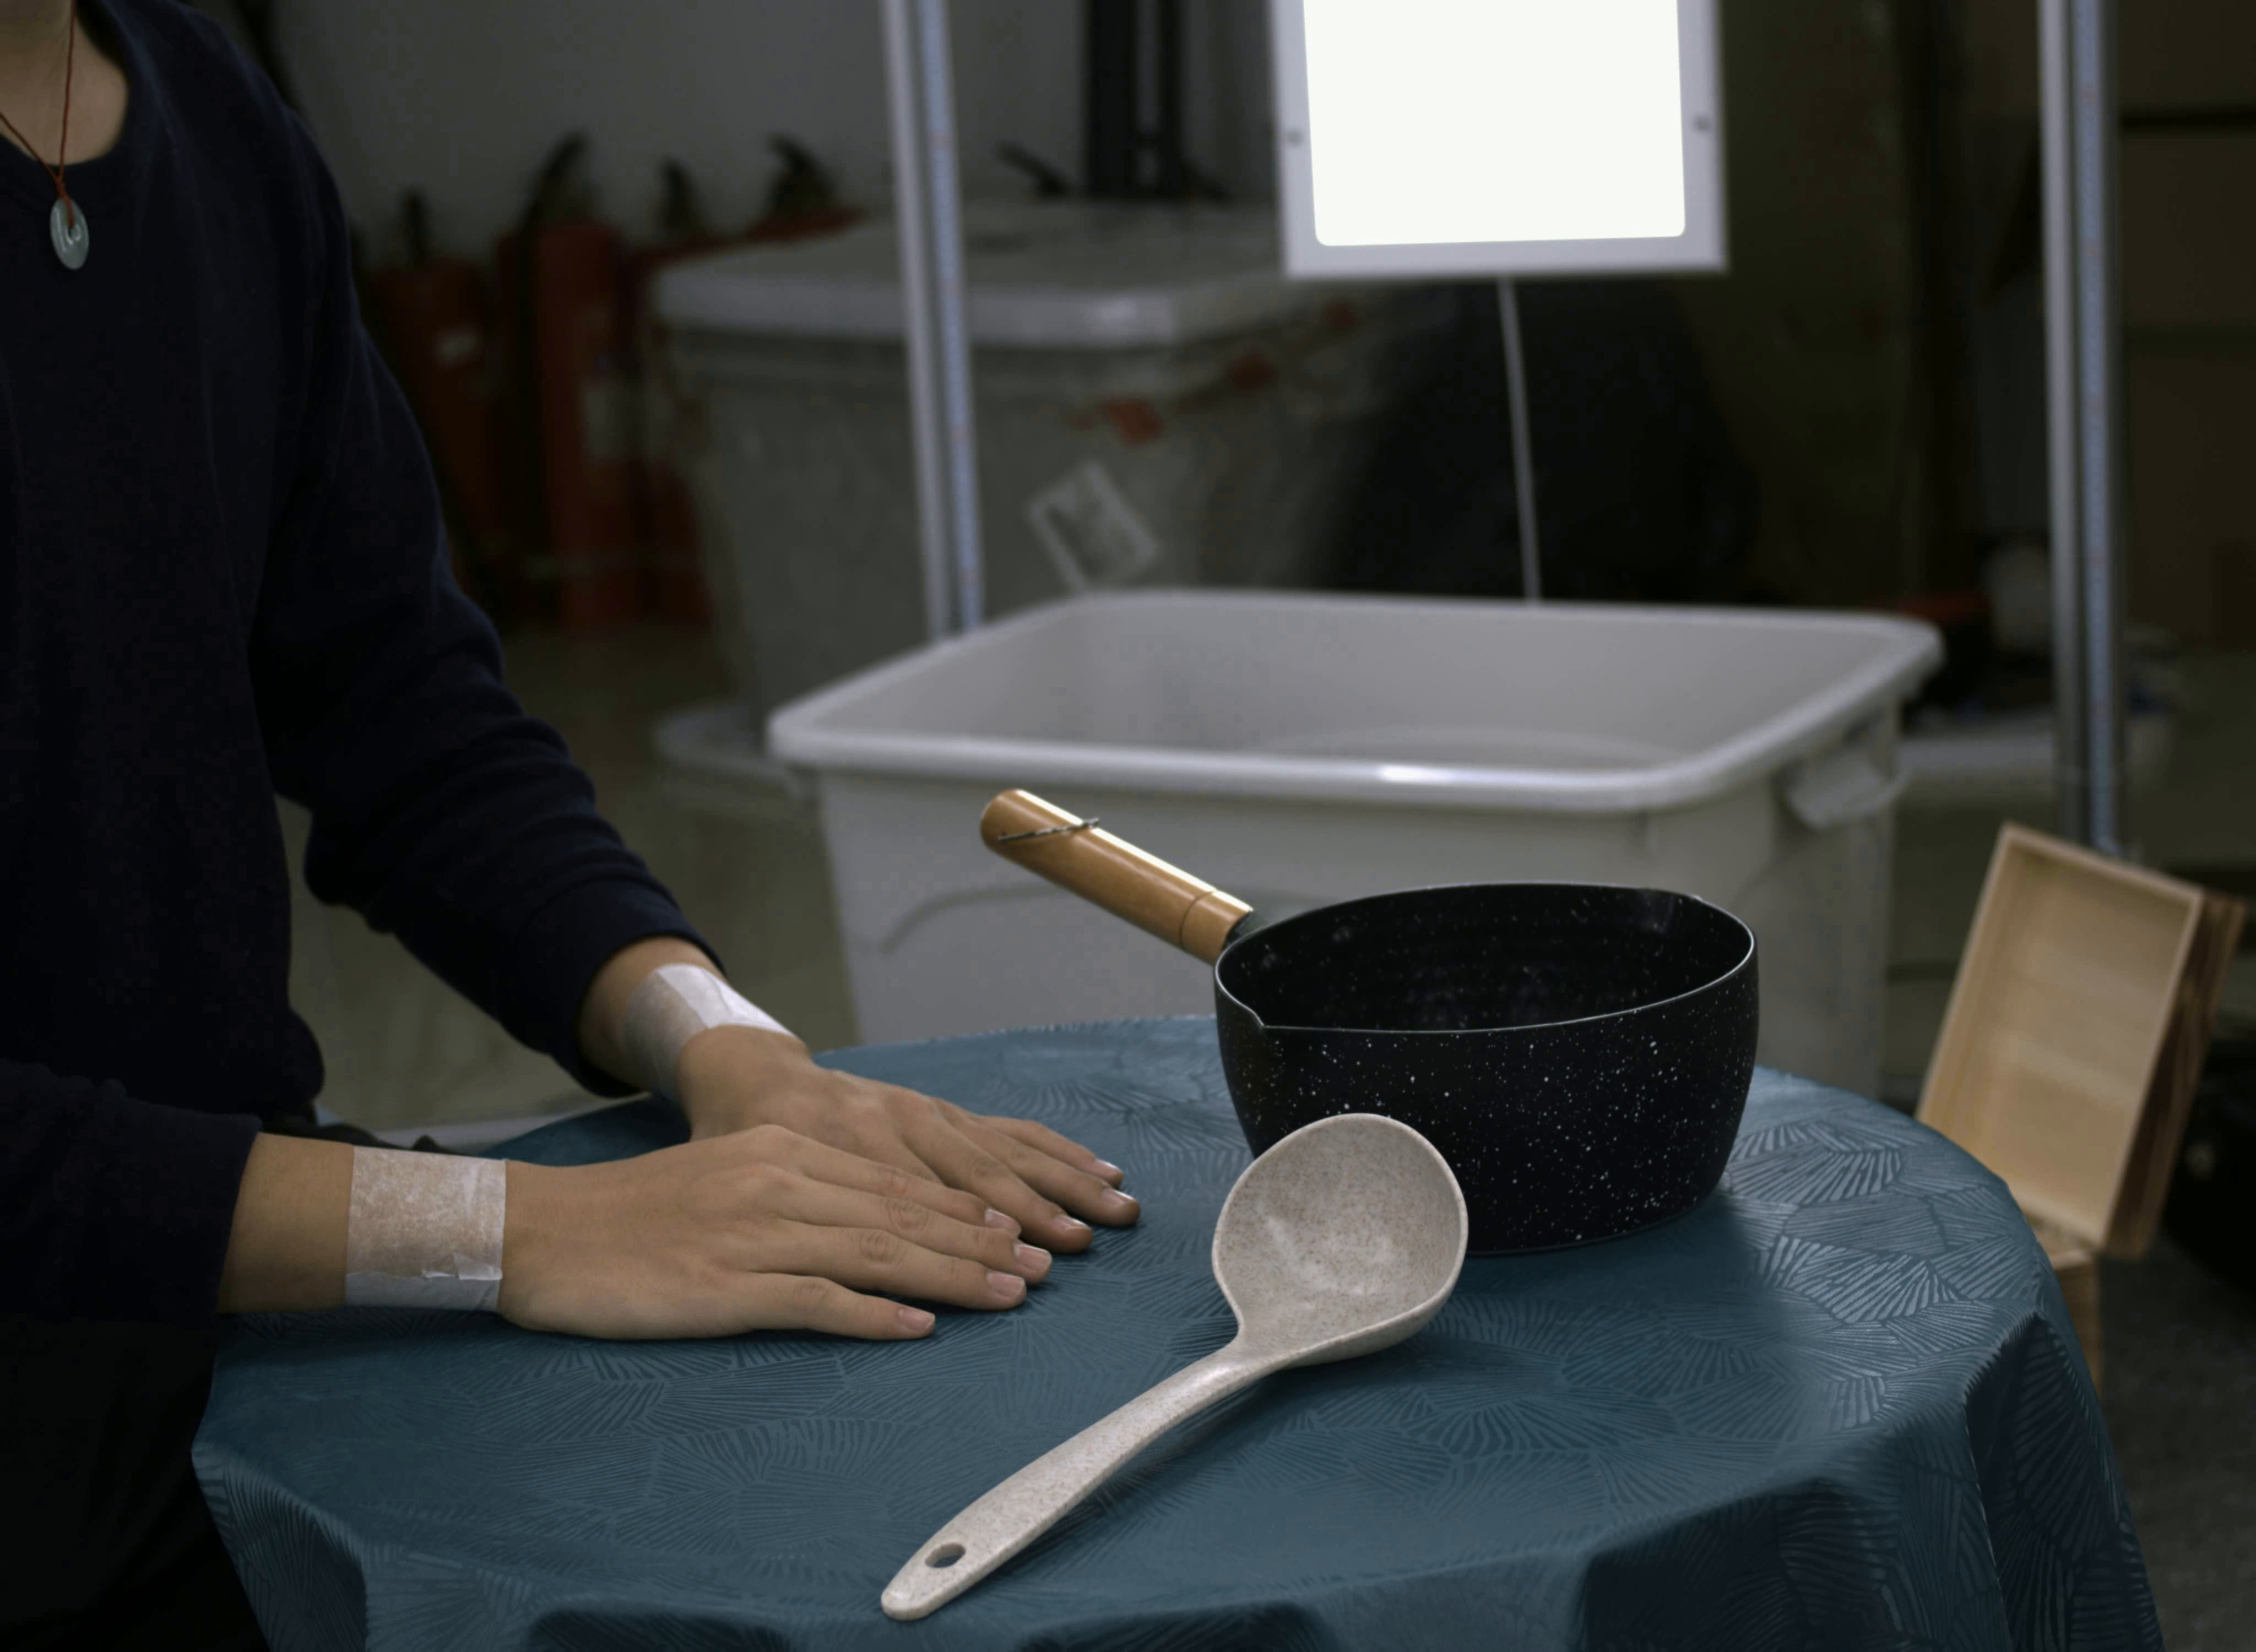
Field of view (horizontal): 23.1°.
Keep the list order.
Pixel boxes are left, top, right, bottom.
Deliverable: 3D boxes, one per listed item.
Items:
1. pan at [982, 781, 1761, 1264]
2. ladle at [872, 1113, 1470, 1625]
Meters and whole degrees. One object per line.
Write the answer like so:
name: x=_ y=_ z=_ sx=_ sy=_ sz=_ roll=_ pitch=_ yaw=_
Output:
pan: x=0.068 y=0.061 z=1.911 sx=0.202 sy=0.108 sz=0.350 roll=-18 pitch=20 yaw=-39
ladle: x=0.008 y=0.156 z=1.634 sx=0.091 sy=0.070 sz=0.268 roll=12 pitch=21 yaw=32
